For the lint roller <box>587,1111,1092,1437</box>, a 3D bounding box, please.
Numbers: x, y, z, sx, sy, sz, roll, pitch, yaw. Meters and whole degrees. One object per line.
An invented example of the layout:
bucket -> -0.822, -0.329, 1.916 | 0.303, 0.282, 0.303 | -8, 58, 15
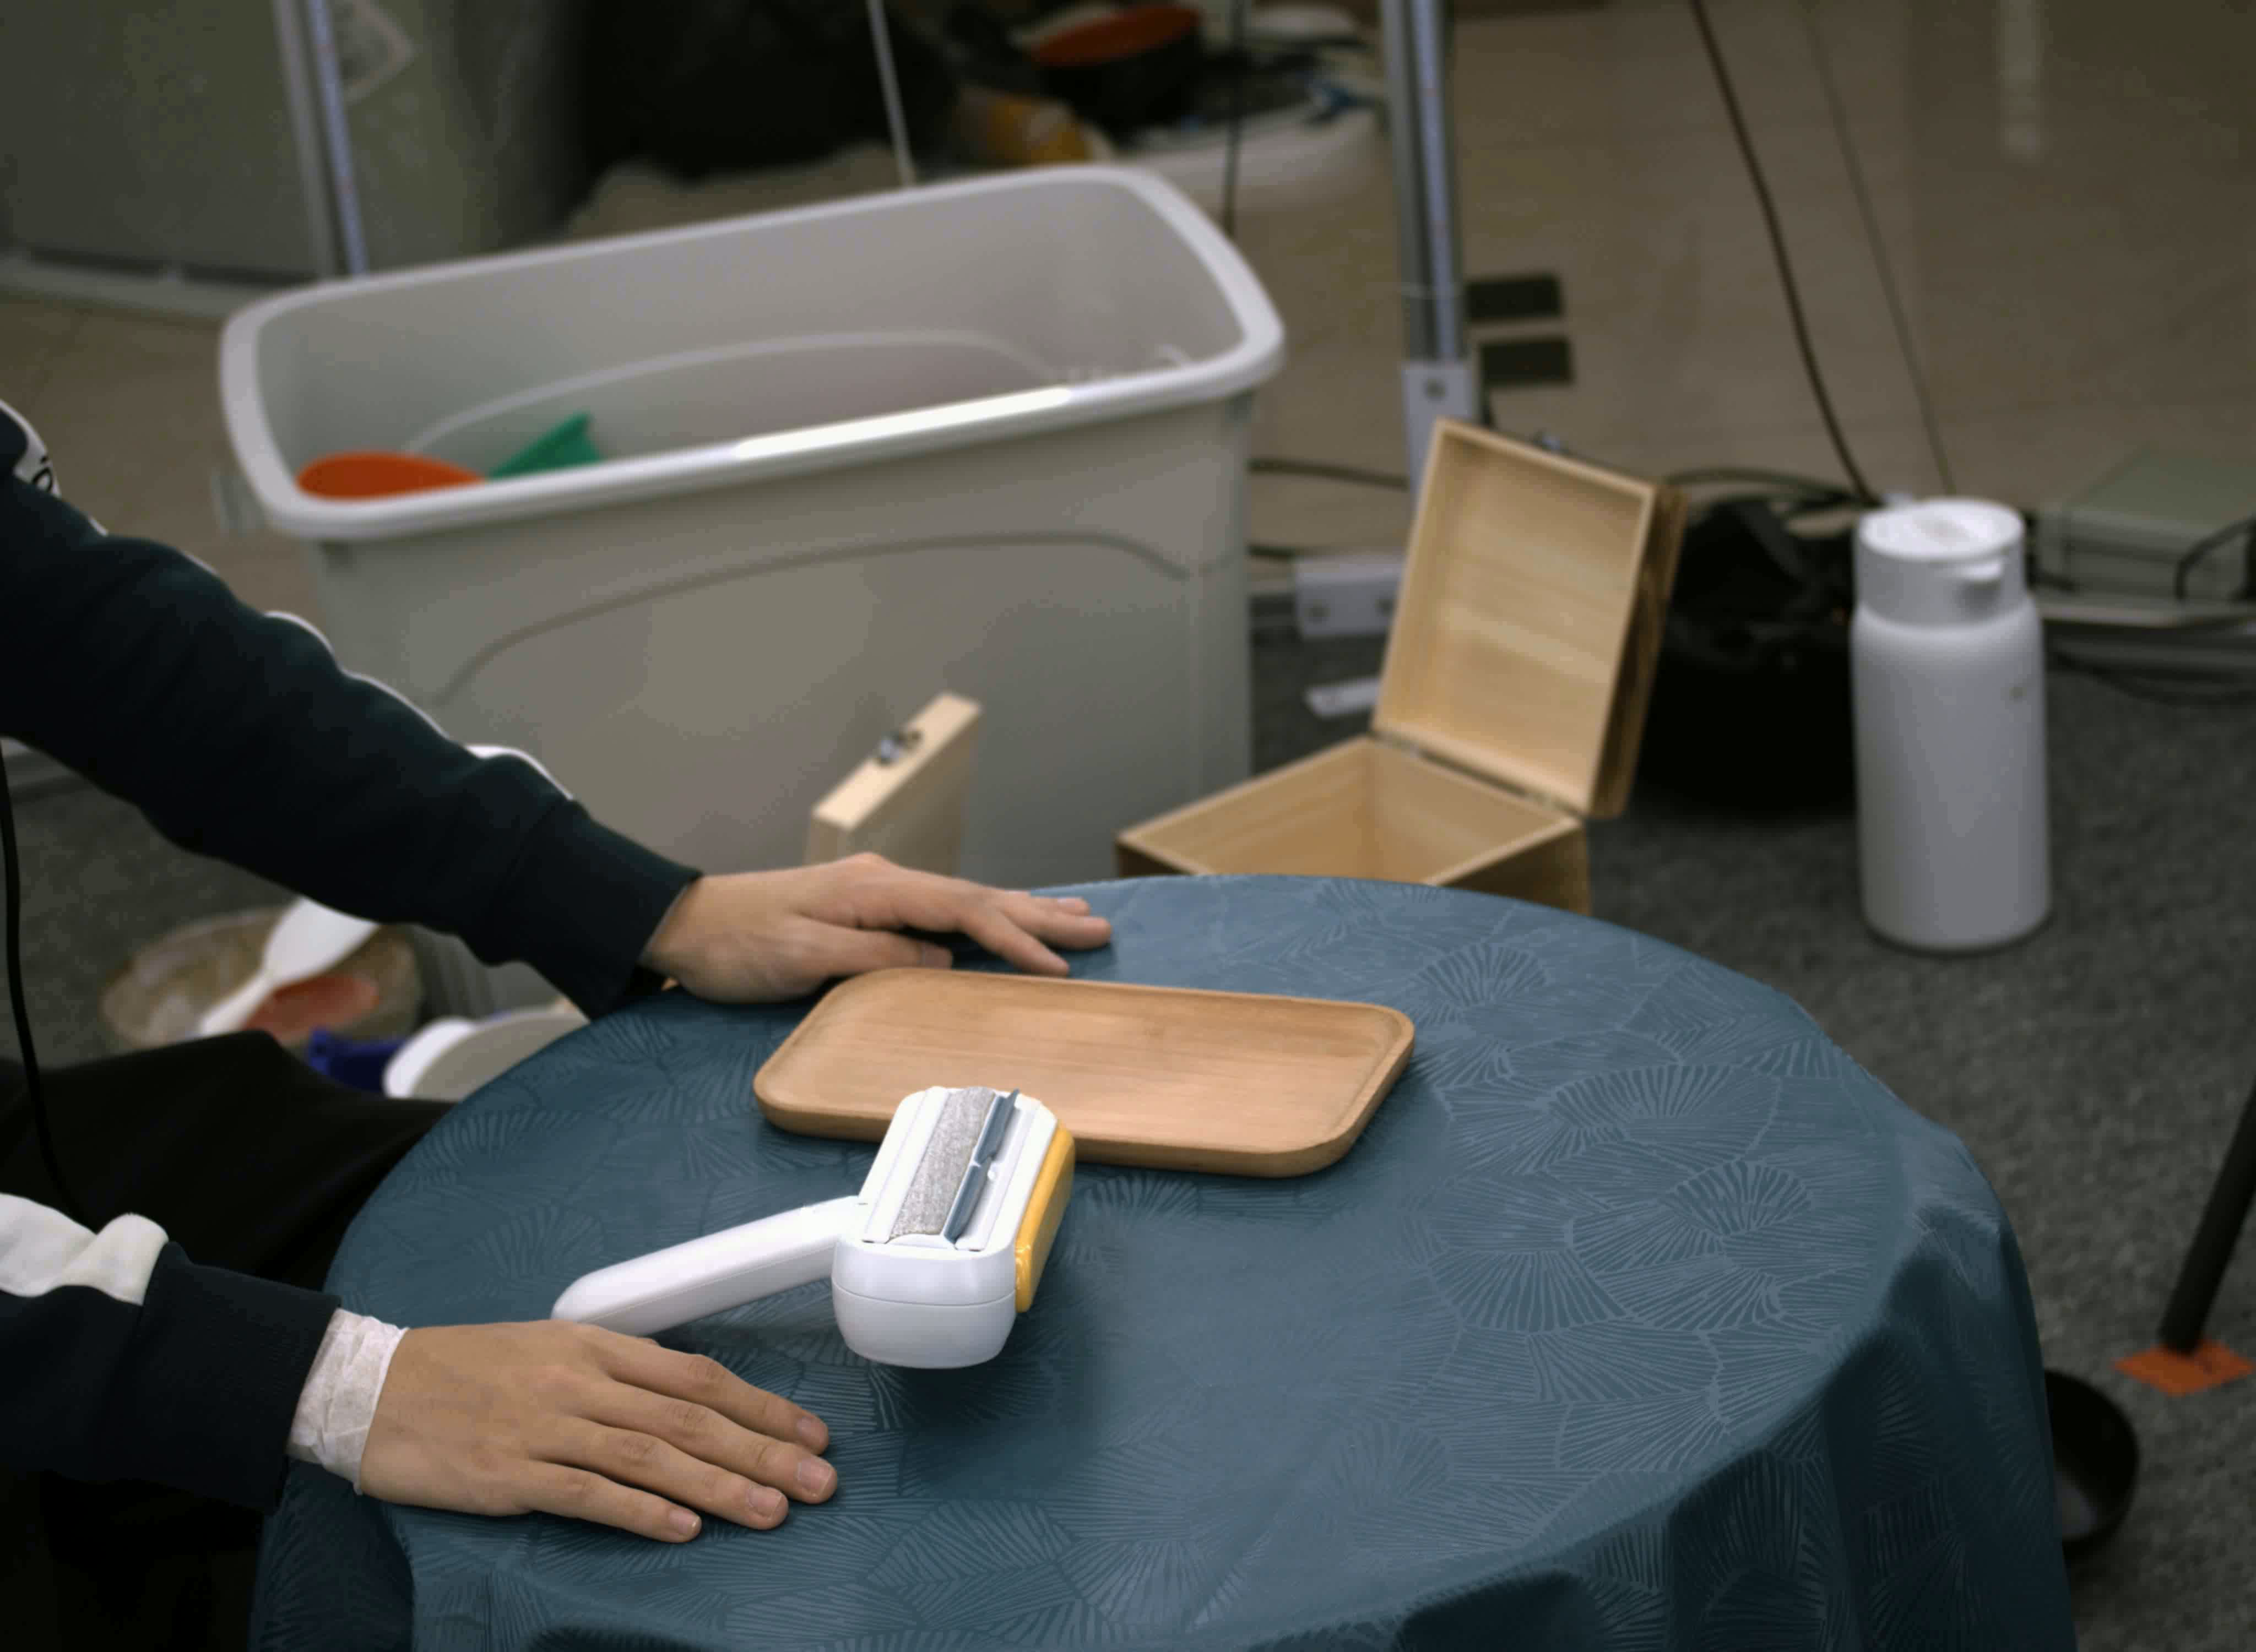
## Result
lint roller -> -0.115, 0.172, 2.064 | 0.192, 0.075, 0.190 | -15, 15, 17

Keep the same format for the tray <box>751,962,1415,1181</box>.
tray -> -0.018, 0.096, 2.222 | 0.250, 0.023, 0.129 | 4, 25, 22
